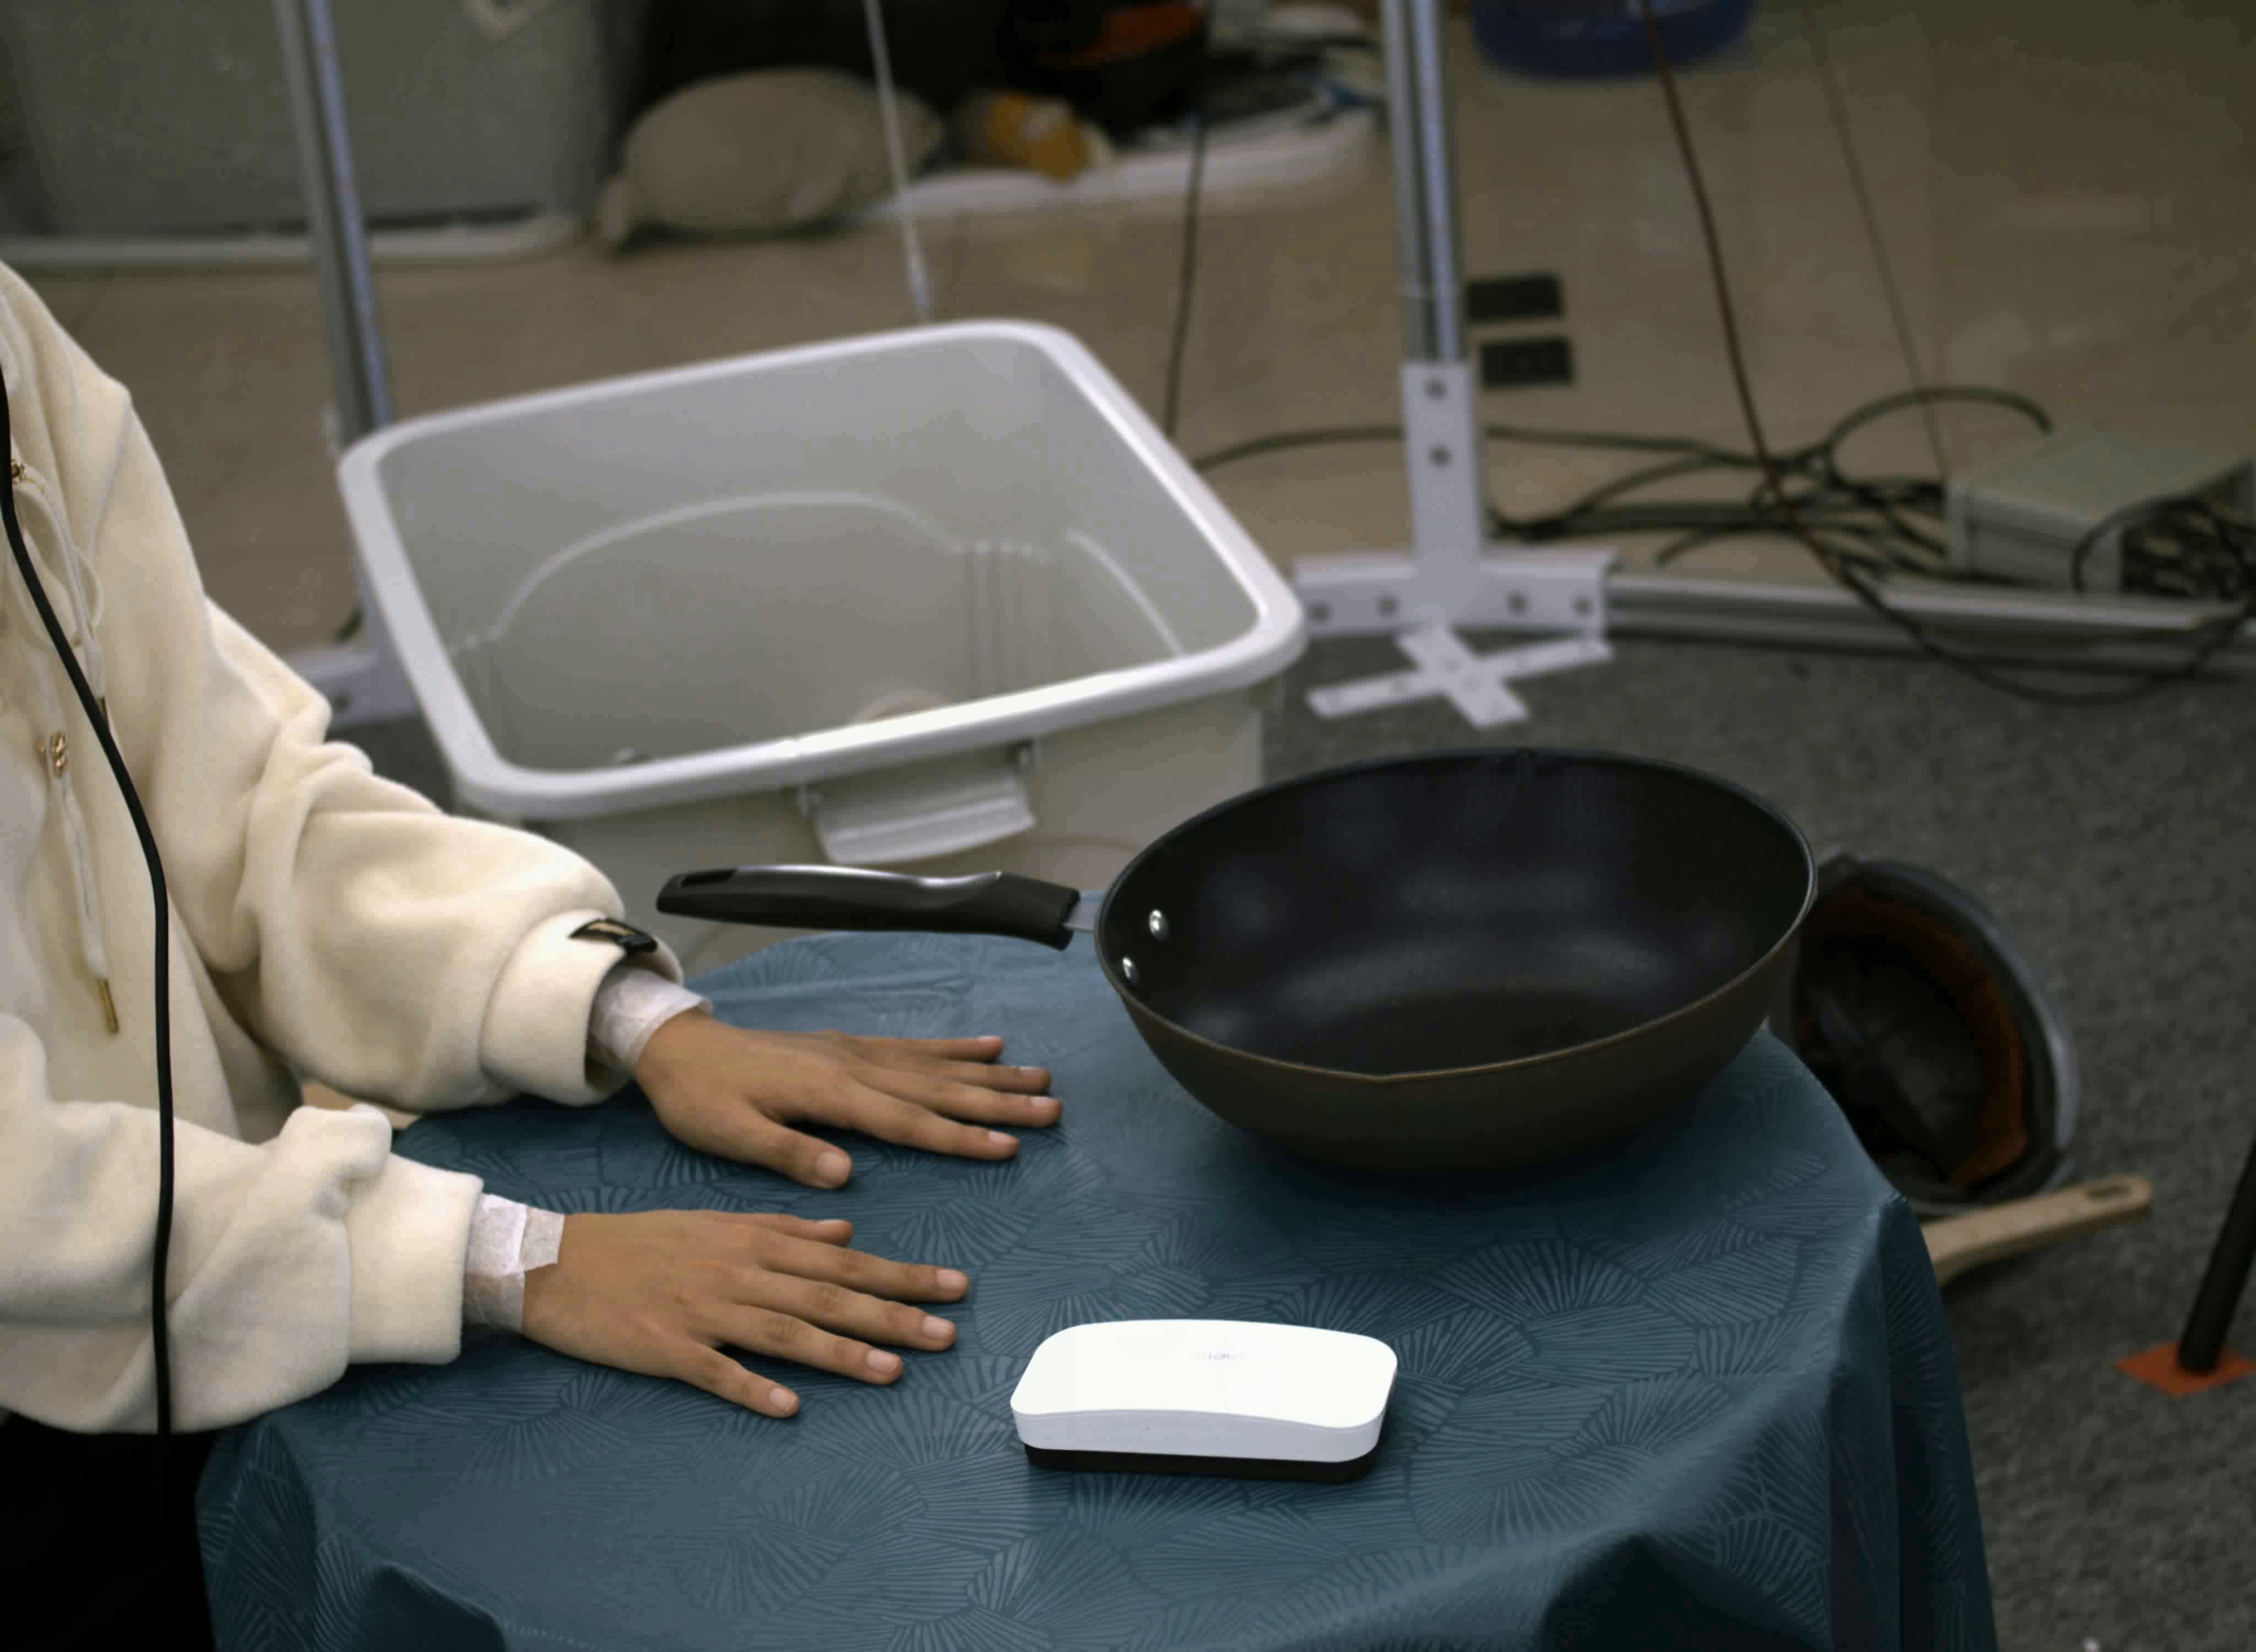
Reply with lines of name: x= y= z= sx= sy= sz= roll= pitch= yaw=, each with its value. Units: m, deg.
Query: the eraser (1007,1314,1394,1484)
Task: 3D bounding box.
eraser: x=0.026 y=0.200 z=1.976 sx=0.131 sy=0.035 sz=0.062 roll=1 pitch=23 yaw=15

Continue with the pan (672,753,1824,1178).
pan: x=0.042 y=0.061 z=2.206 sx=0.462 sy=0.088 sz=0.284 roll=0 pitch=25 yaw=17
